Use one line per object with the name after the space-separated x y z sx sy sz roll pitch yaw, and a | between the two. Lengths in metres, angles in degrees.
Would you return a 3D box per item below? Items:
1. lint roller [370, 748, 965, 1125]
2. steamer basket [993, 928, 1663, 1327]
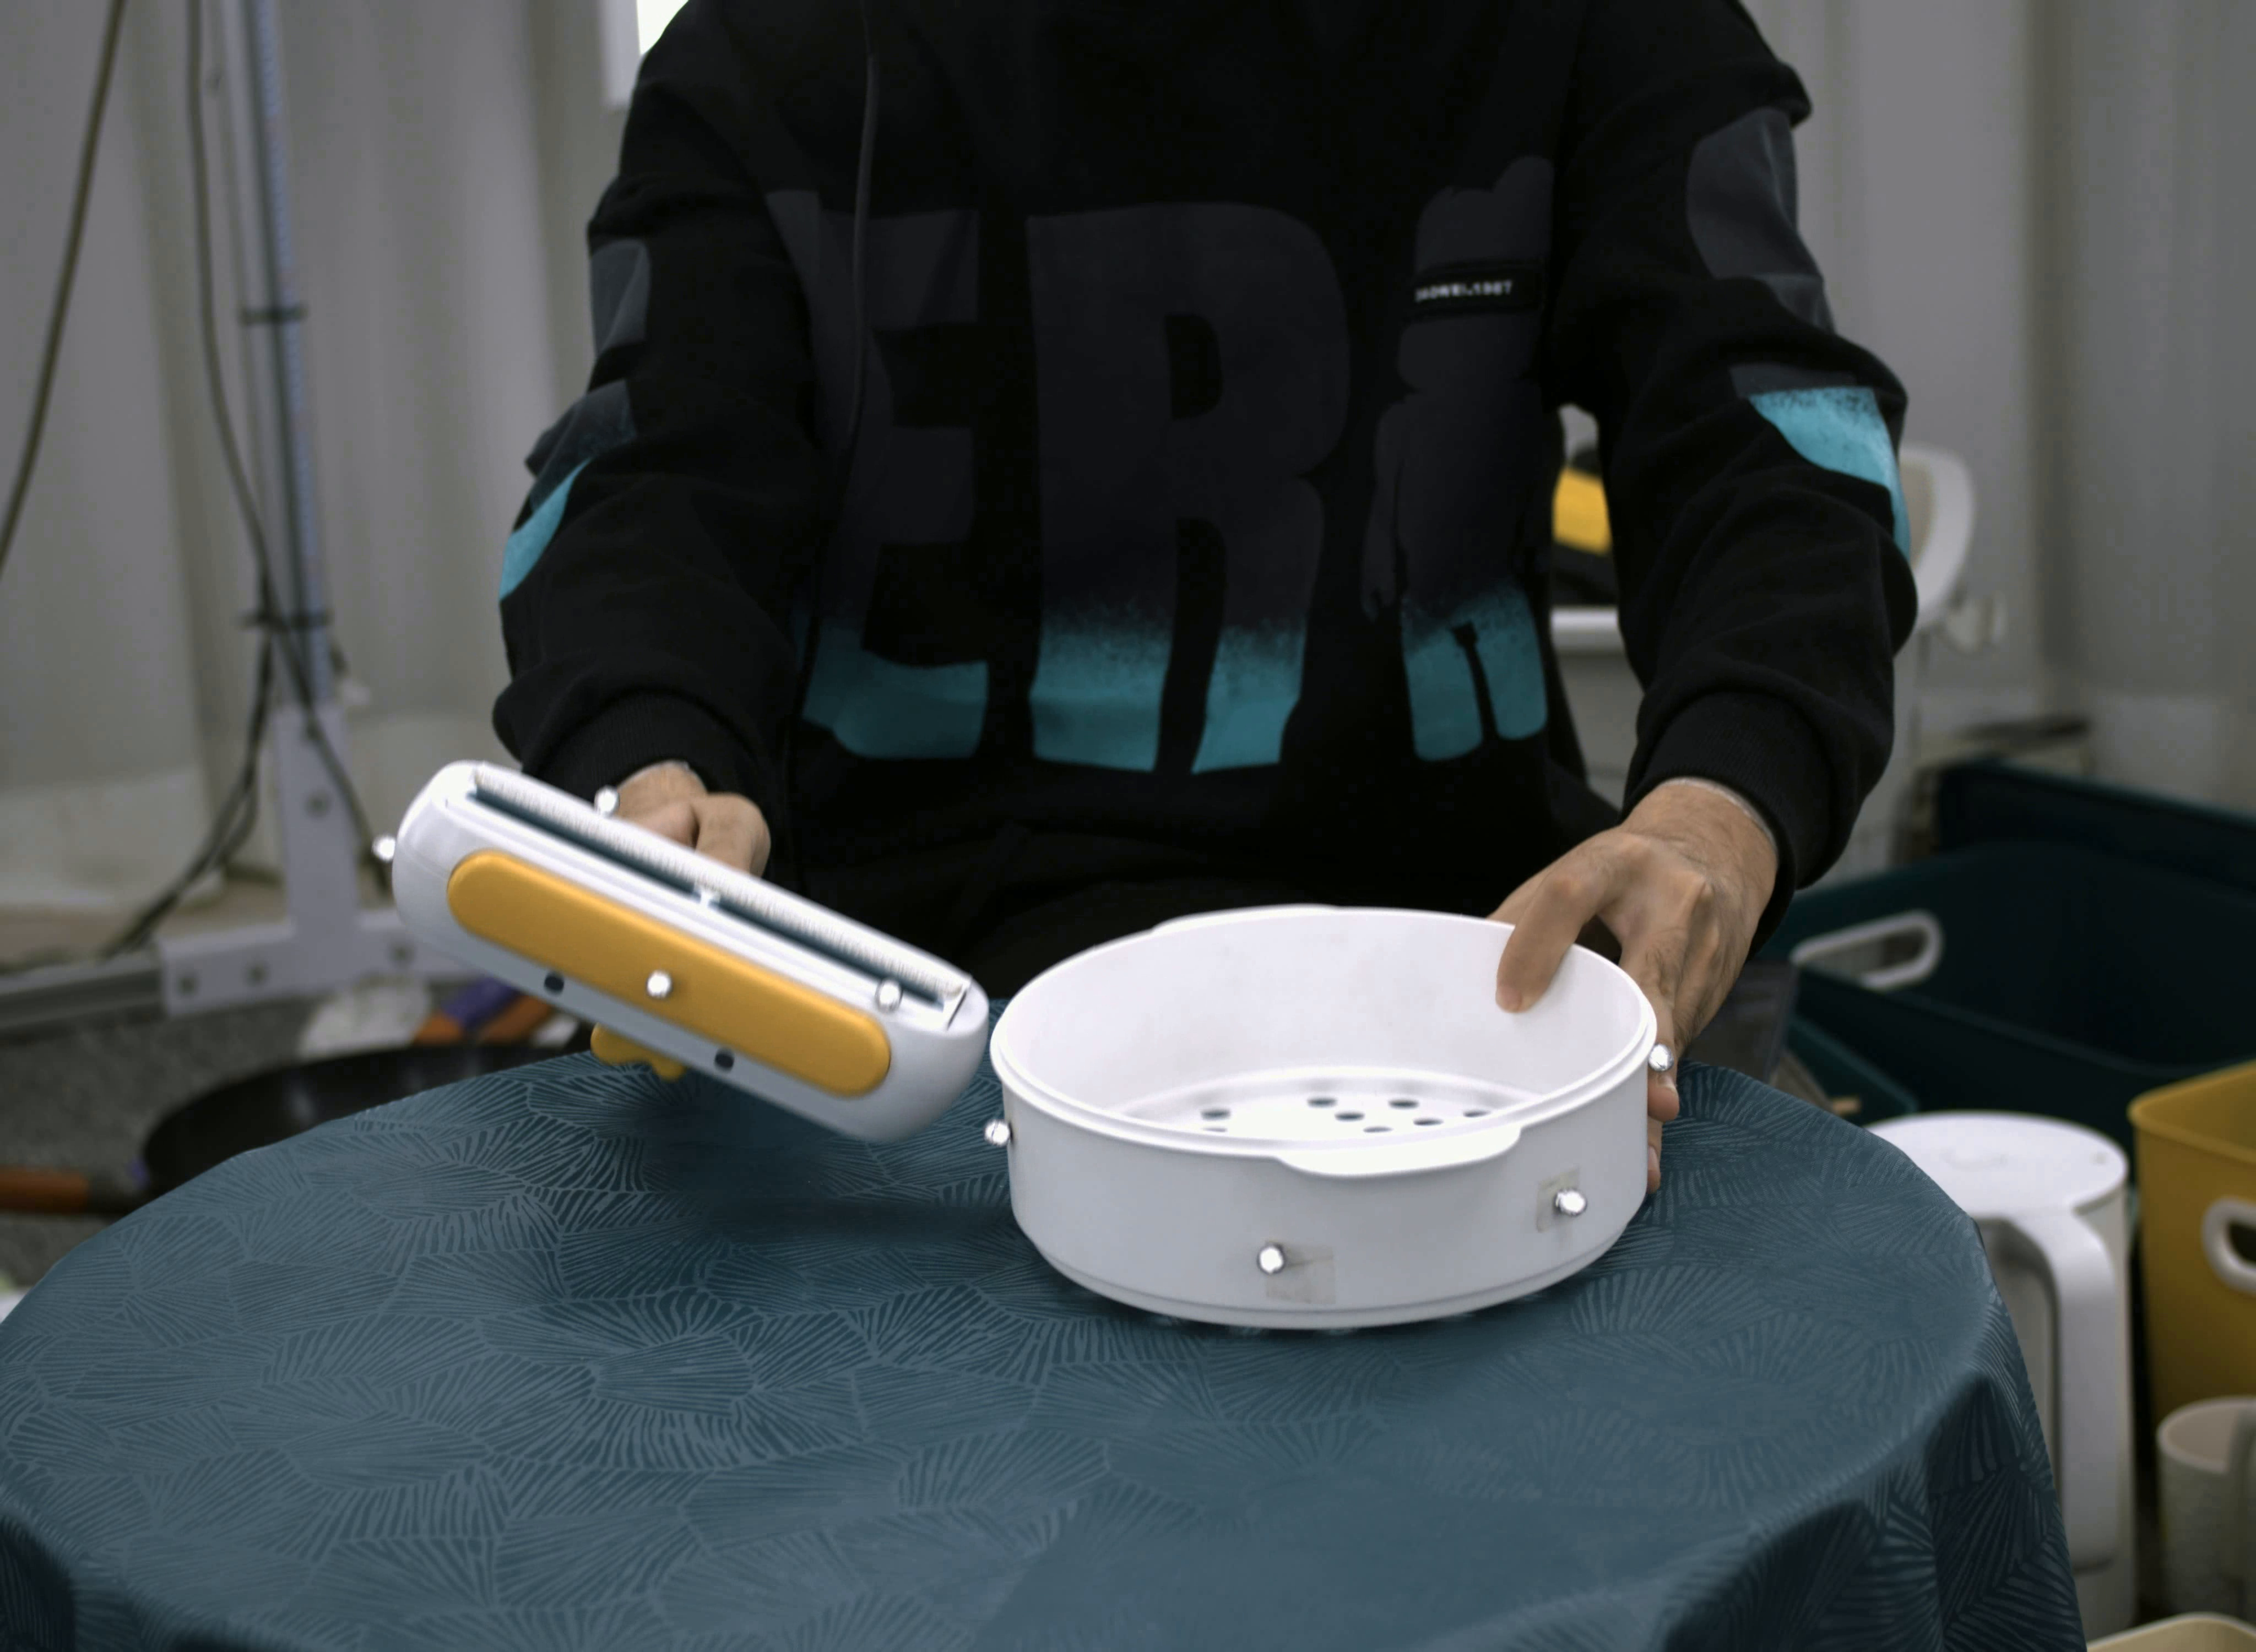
-0.137 0.033 1.752 0.193 0.074 0.193 20 9 6 | lint roller
0.060 0.090 1.650 0.201 0.069 0.232 -3 16 -10 | steamer basket
